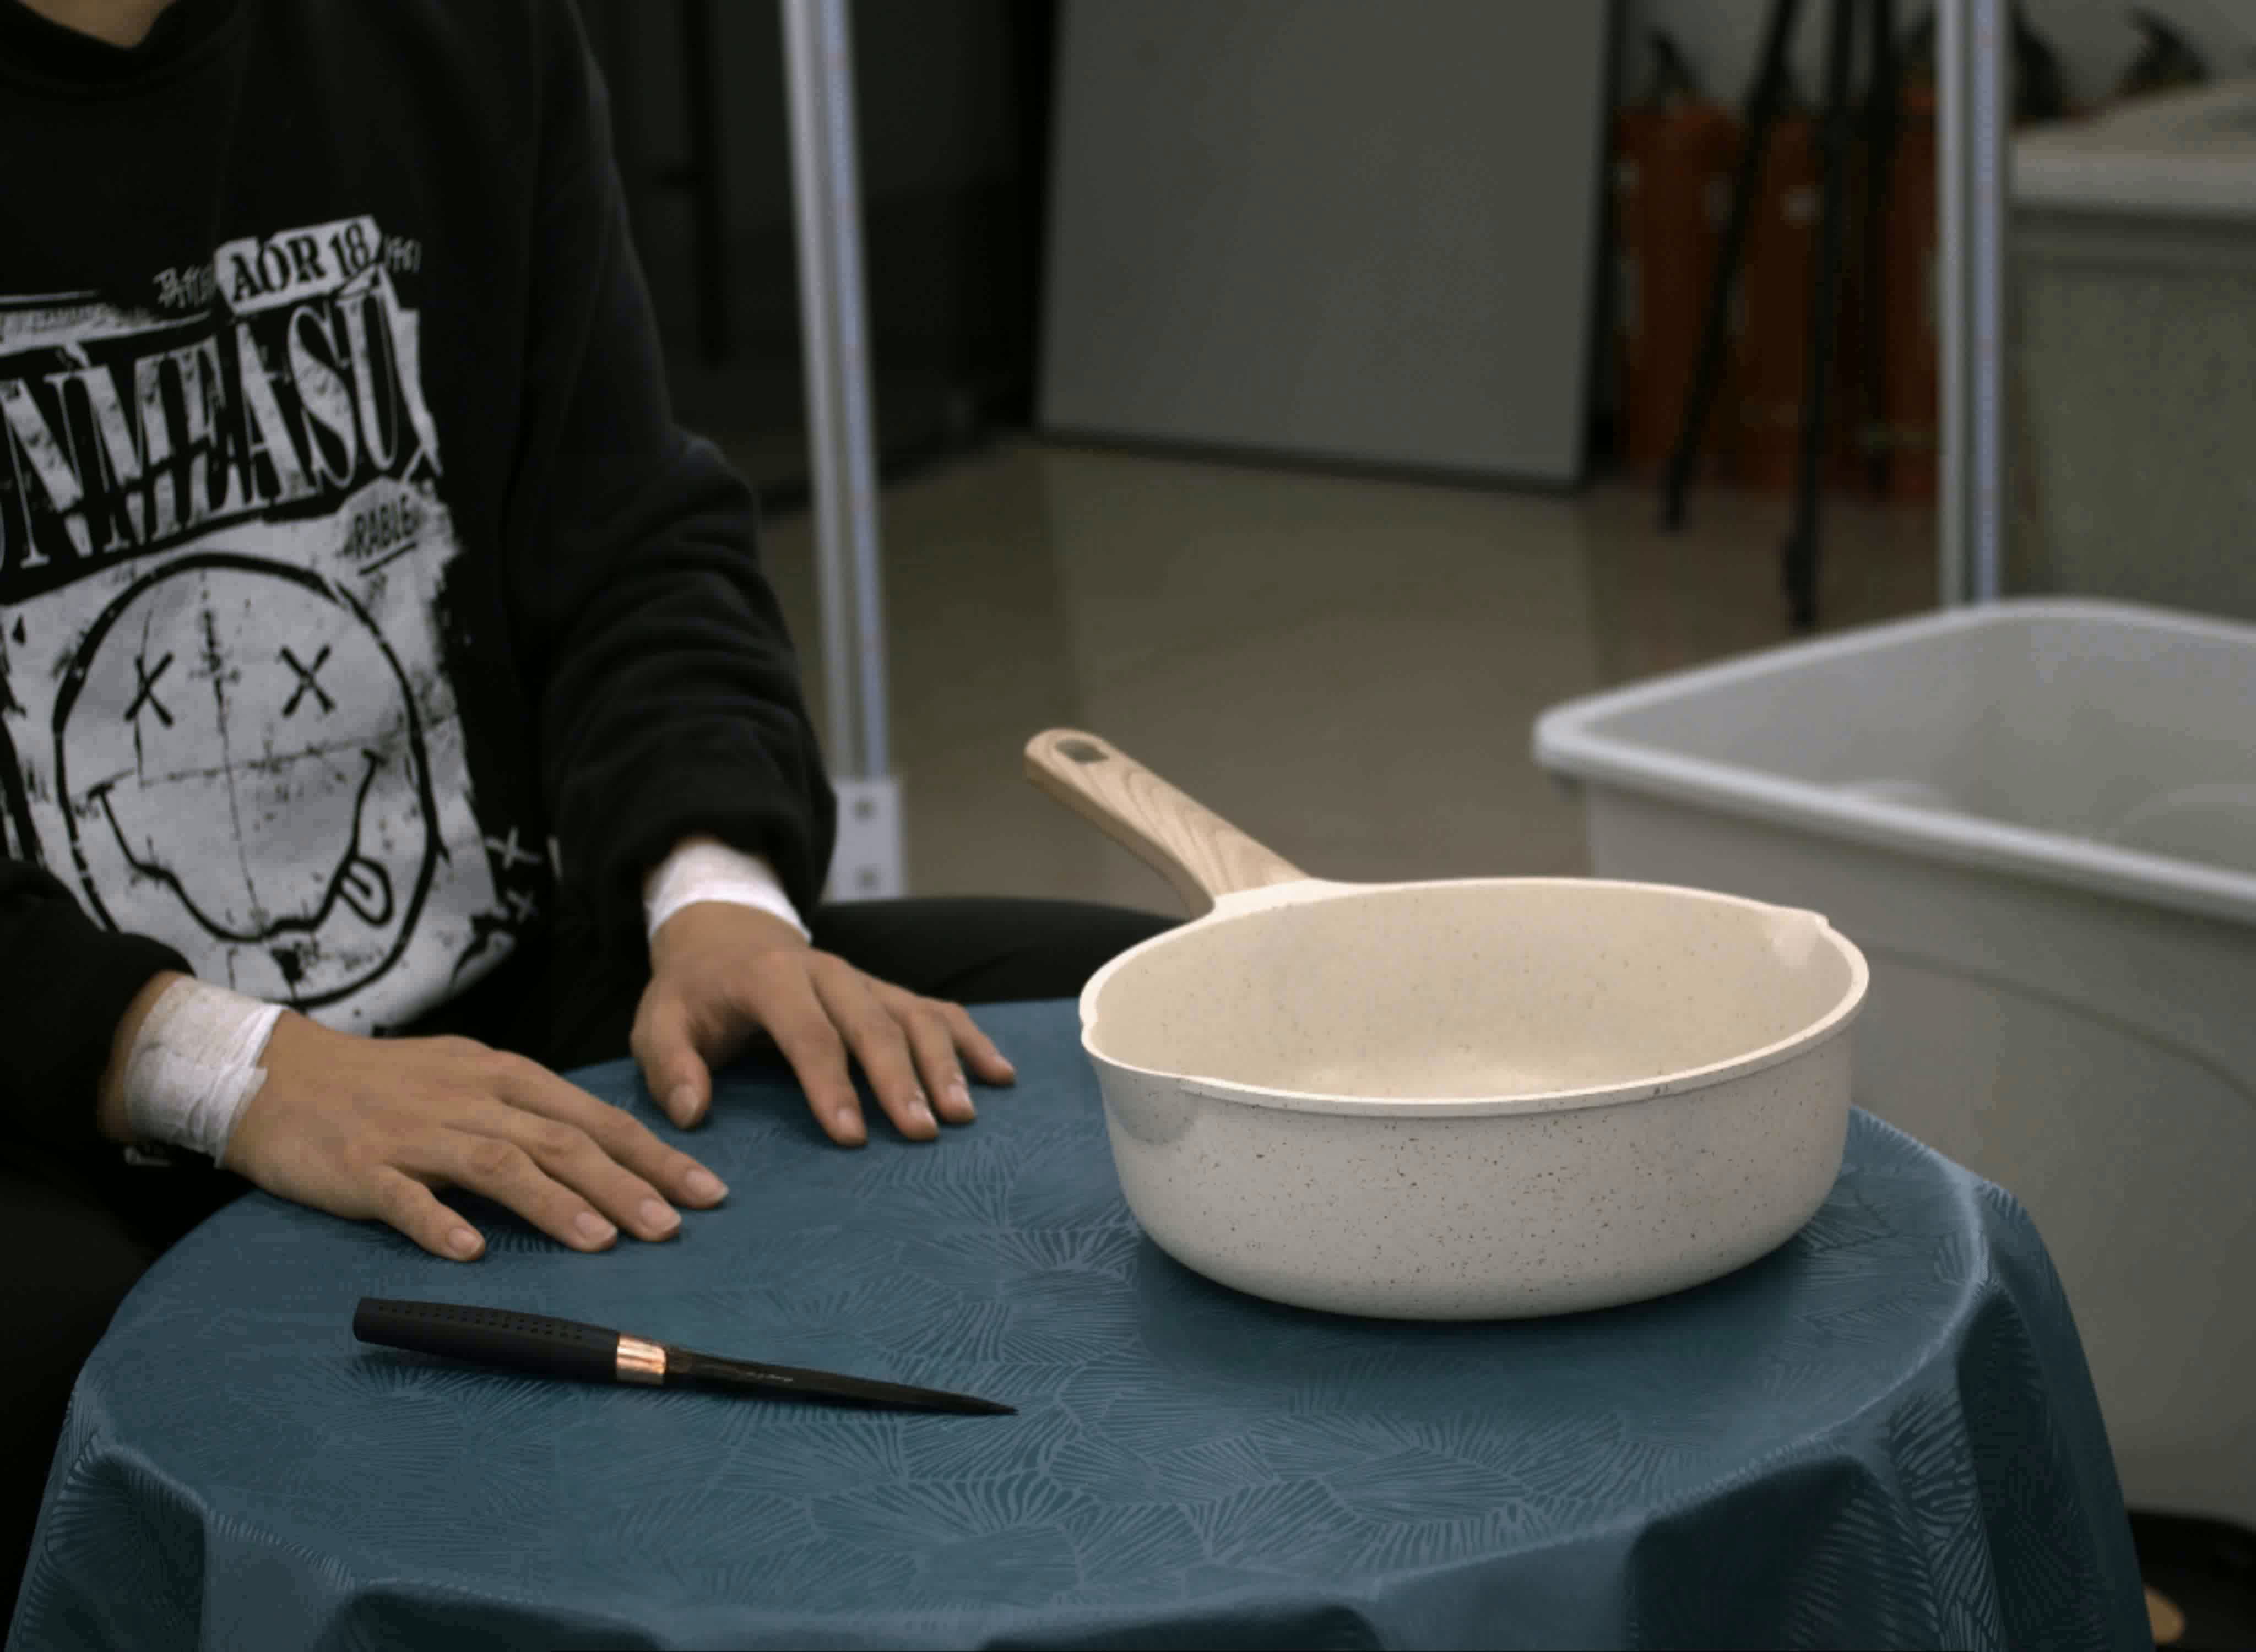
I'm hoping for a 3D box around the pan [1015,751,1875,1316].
[{"bbox_3d":[0.073,0.061,1.788,0.258,0.103,0.439,-13,16,-24],"label":"pan"}]

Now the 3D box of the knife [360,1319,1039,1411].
[{"bbox_3d":[-0.131,0.164,1.624,0.226,0.017,0.026,3,-1,25],"label":"knife"}]
